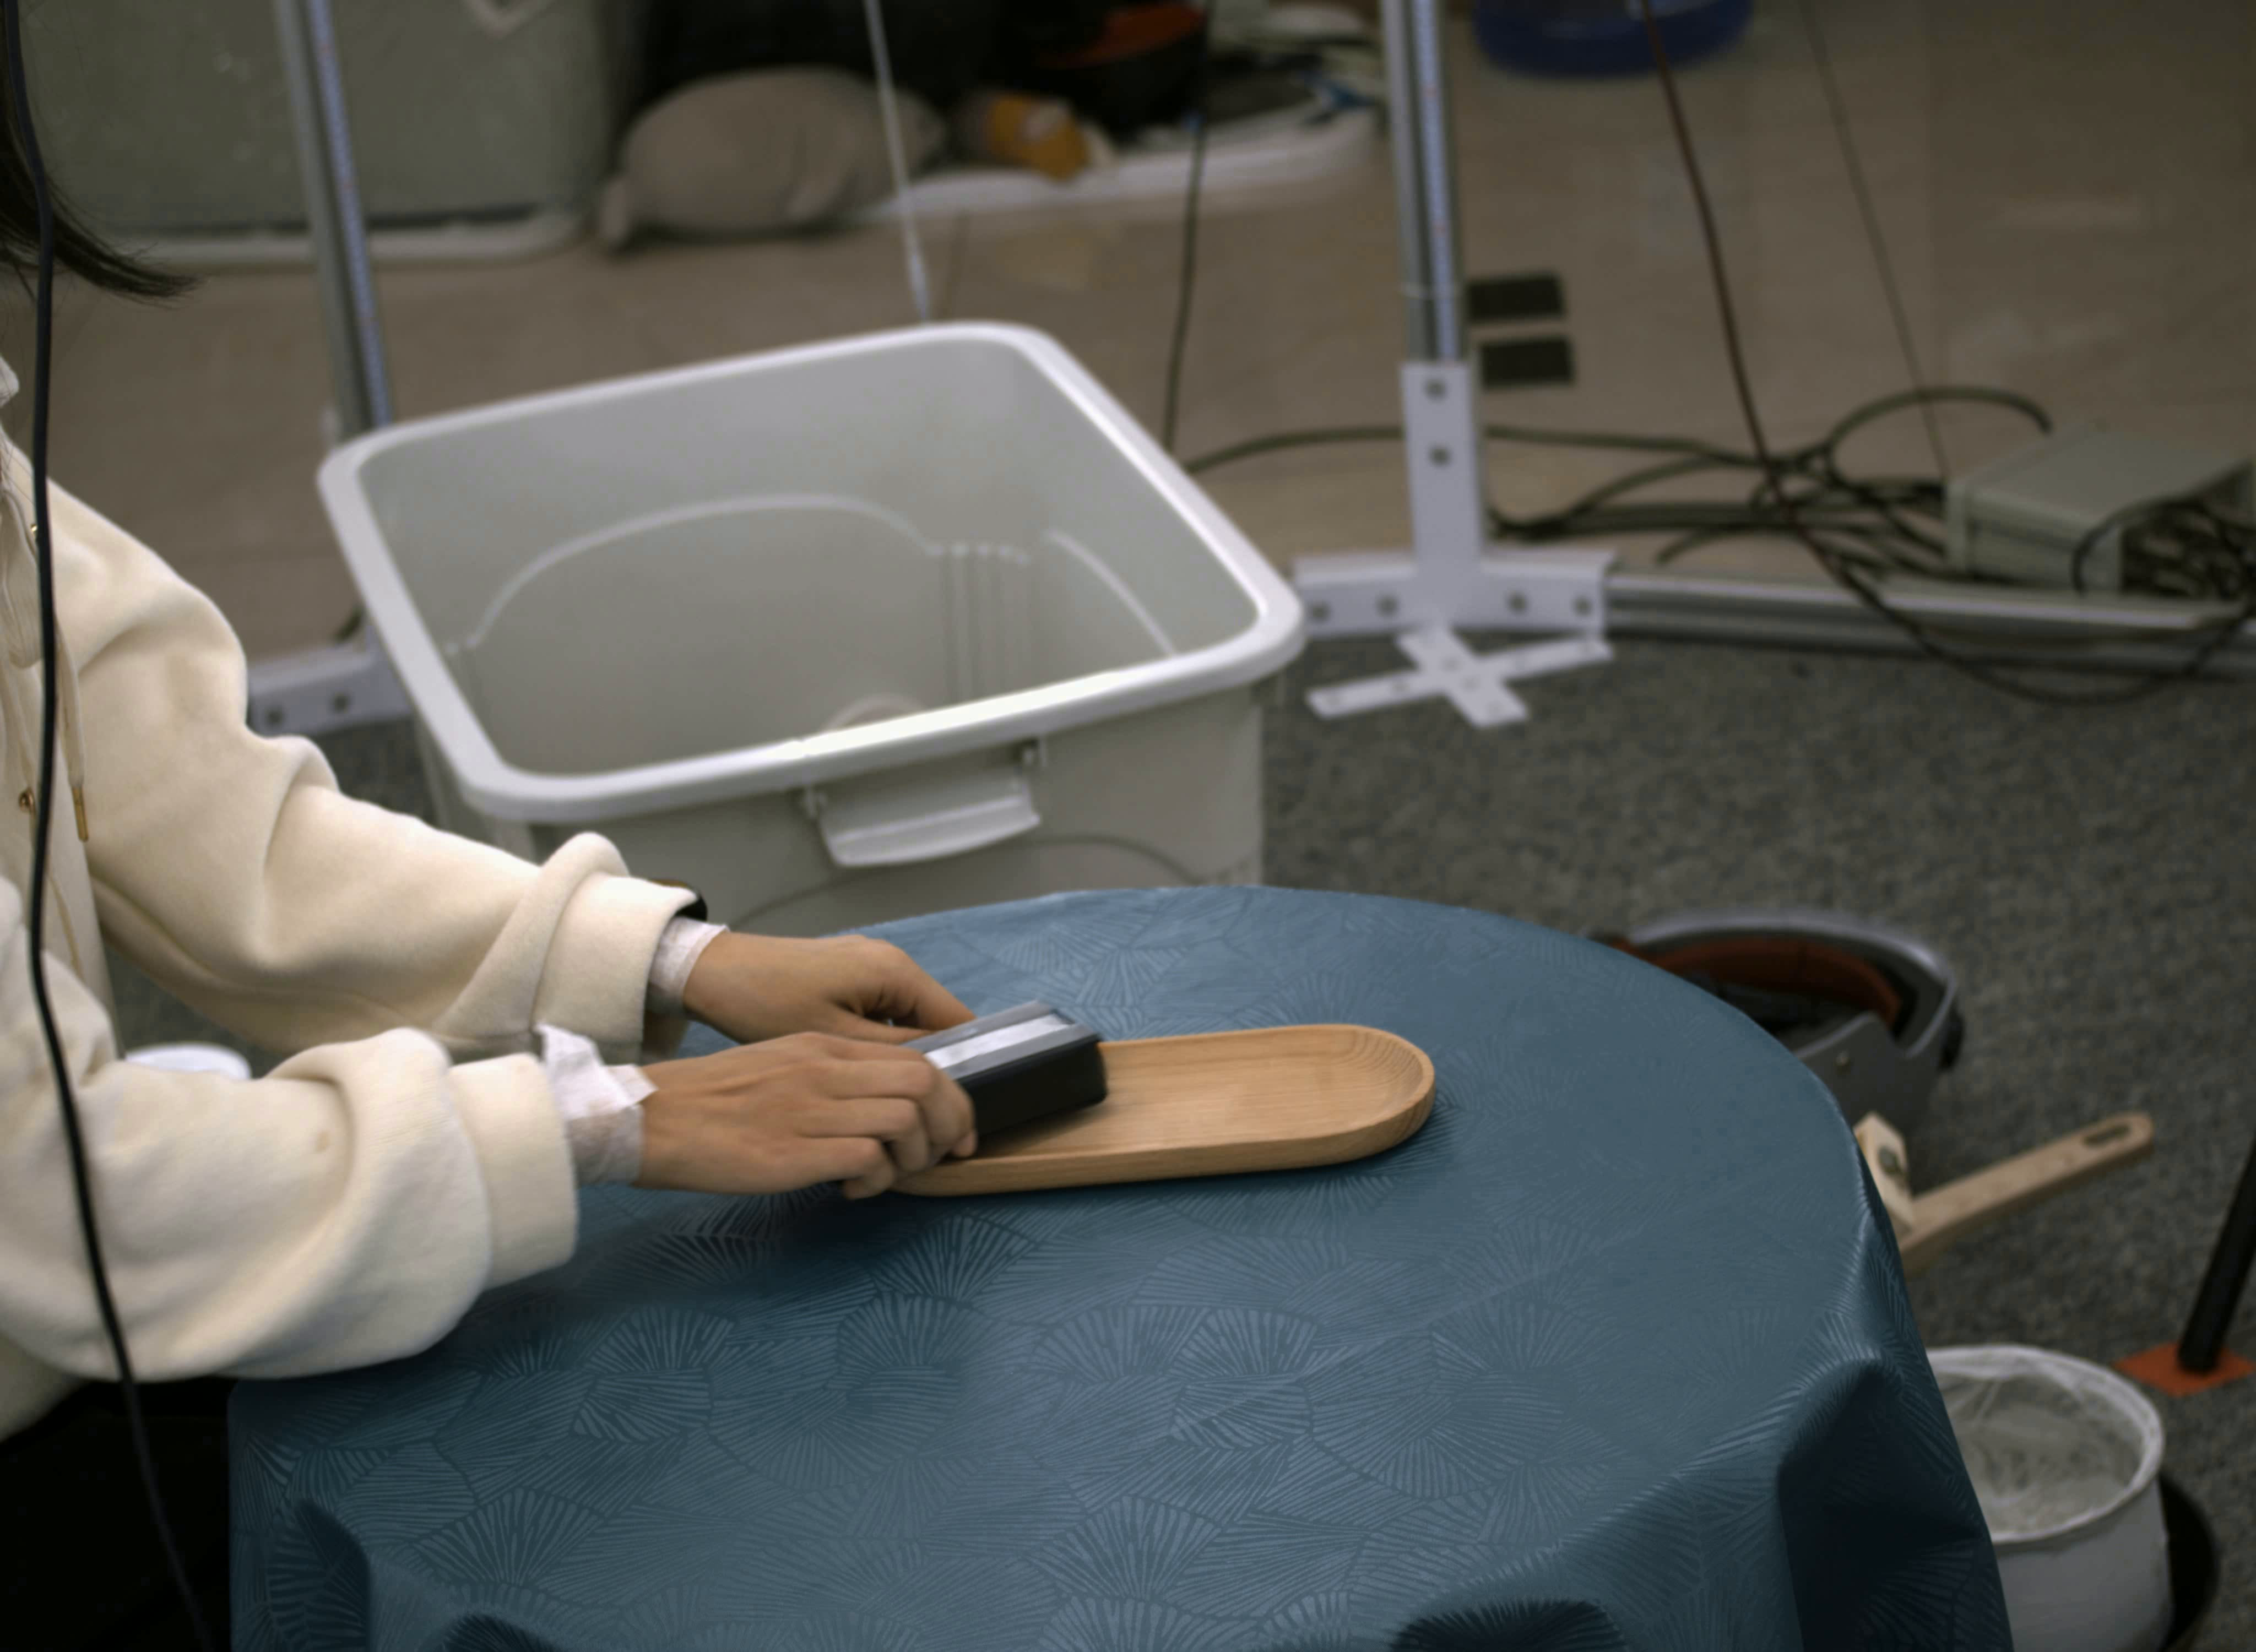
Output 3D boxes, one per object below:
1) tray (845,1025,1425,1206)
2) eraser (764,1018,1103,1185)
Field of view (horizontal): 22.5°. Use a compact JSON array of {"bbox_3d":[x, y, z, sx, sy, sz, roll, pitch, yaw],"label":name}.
[{"bbox_3d":[0.000,0.112,2.186,0.231,0.020,0.100,-7,22,3],"label":"tray"},{"bbox_3d":[-0.073,0.104,2.172,0.125,0.031,0.053,-15,19,-32],"label":"eraser"}]
